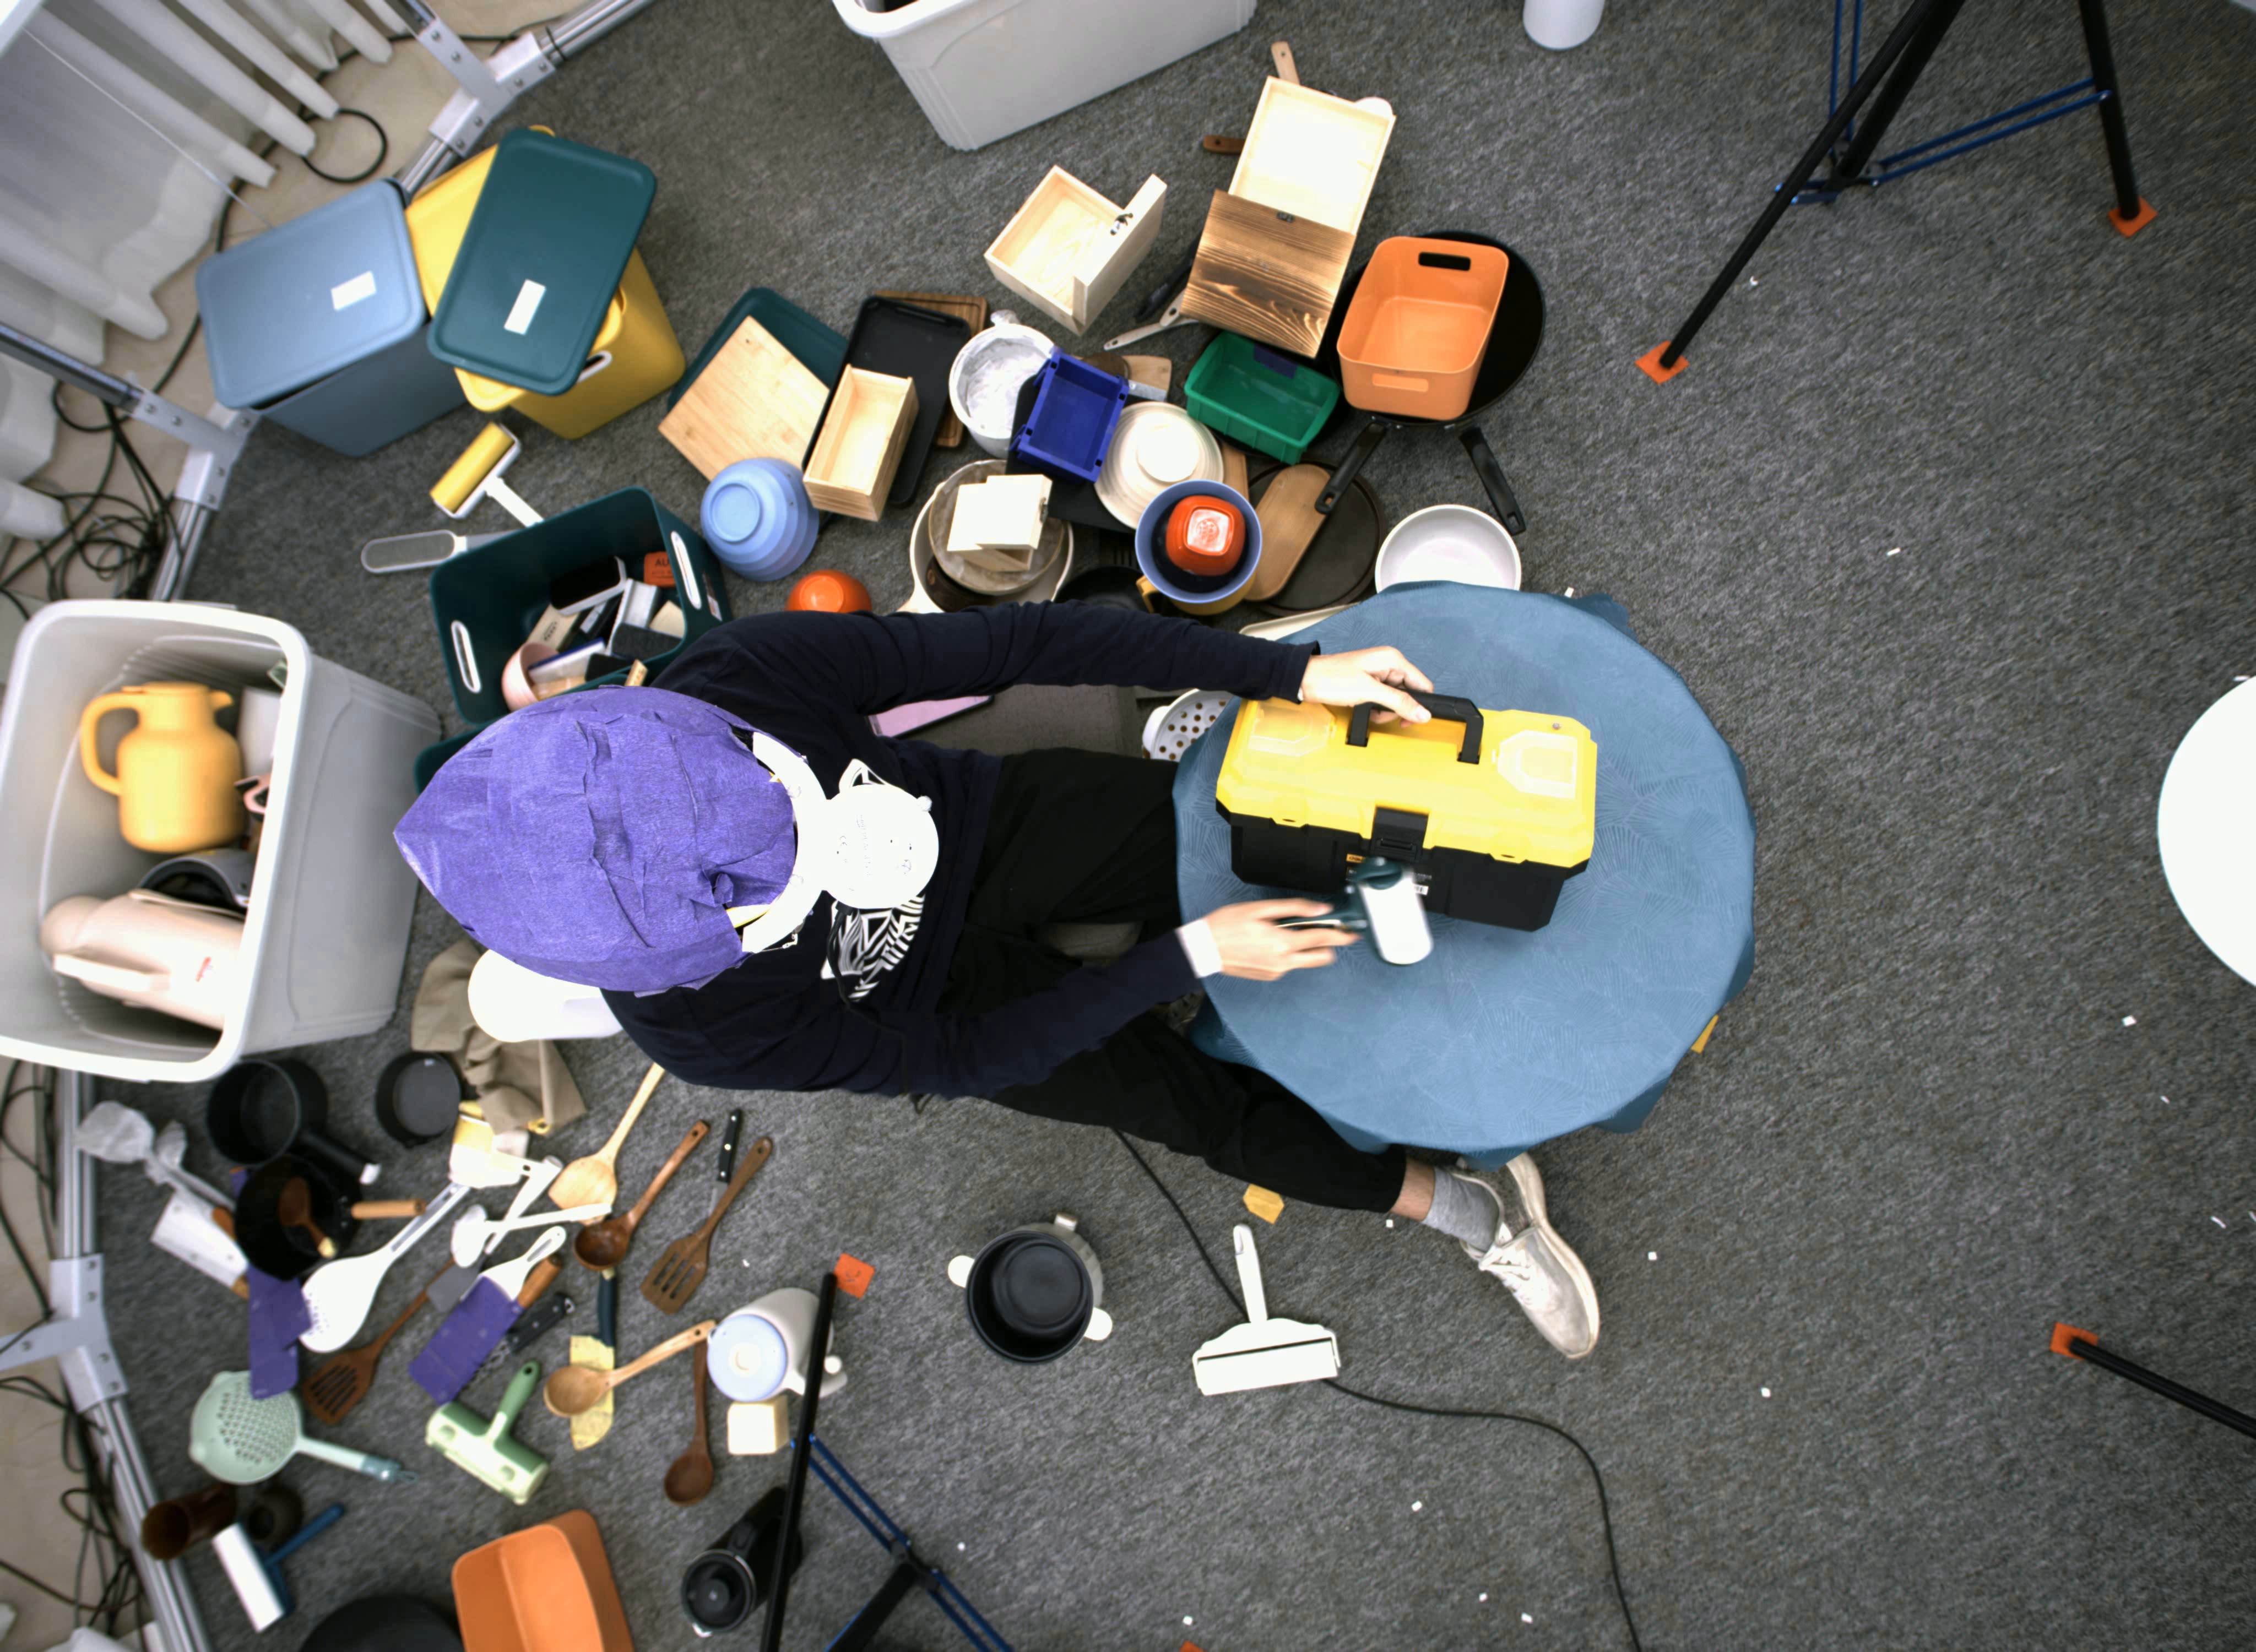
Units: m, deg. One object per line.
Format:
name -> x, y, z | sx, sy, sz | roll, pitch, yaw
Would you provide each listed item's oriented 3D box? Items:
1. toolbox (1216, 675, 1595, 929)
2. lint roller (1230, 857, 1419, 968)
toolbox -> 0.270, -0.022, 1.357 | 0.352, 0.177, 0.176 | 9, 49, 11
lint roller -> 0.188, 0.103, 1.362 | 0.181, 0.047, 0.137 | -17, 128, 11
